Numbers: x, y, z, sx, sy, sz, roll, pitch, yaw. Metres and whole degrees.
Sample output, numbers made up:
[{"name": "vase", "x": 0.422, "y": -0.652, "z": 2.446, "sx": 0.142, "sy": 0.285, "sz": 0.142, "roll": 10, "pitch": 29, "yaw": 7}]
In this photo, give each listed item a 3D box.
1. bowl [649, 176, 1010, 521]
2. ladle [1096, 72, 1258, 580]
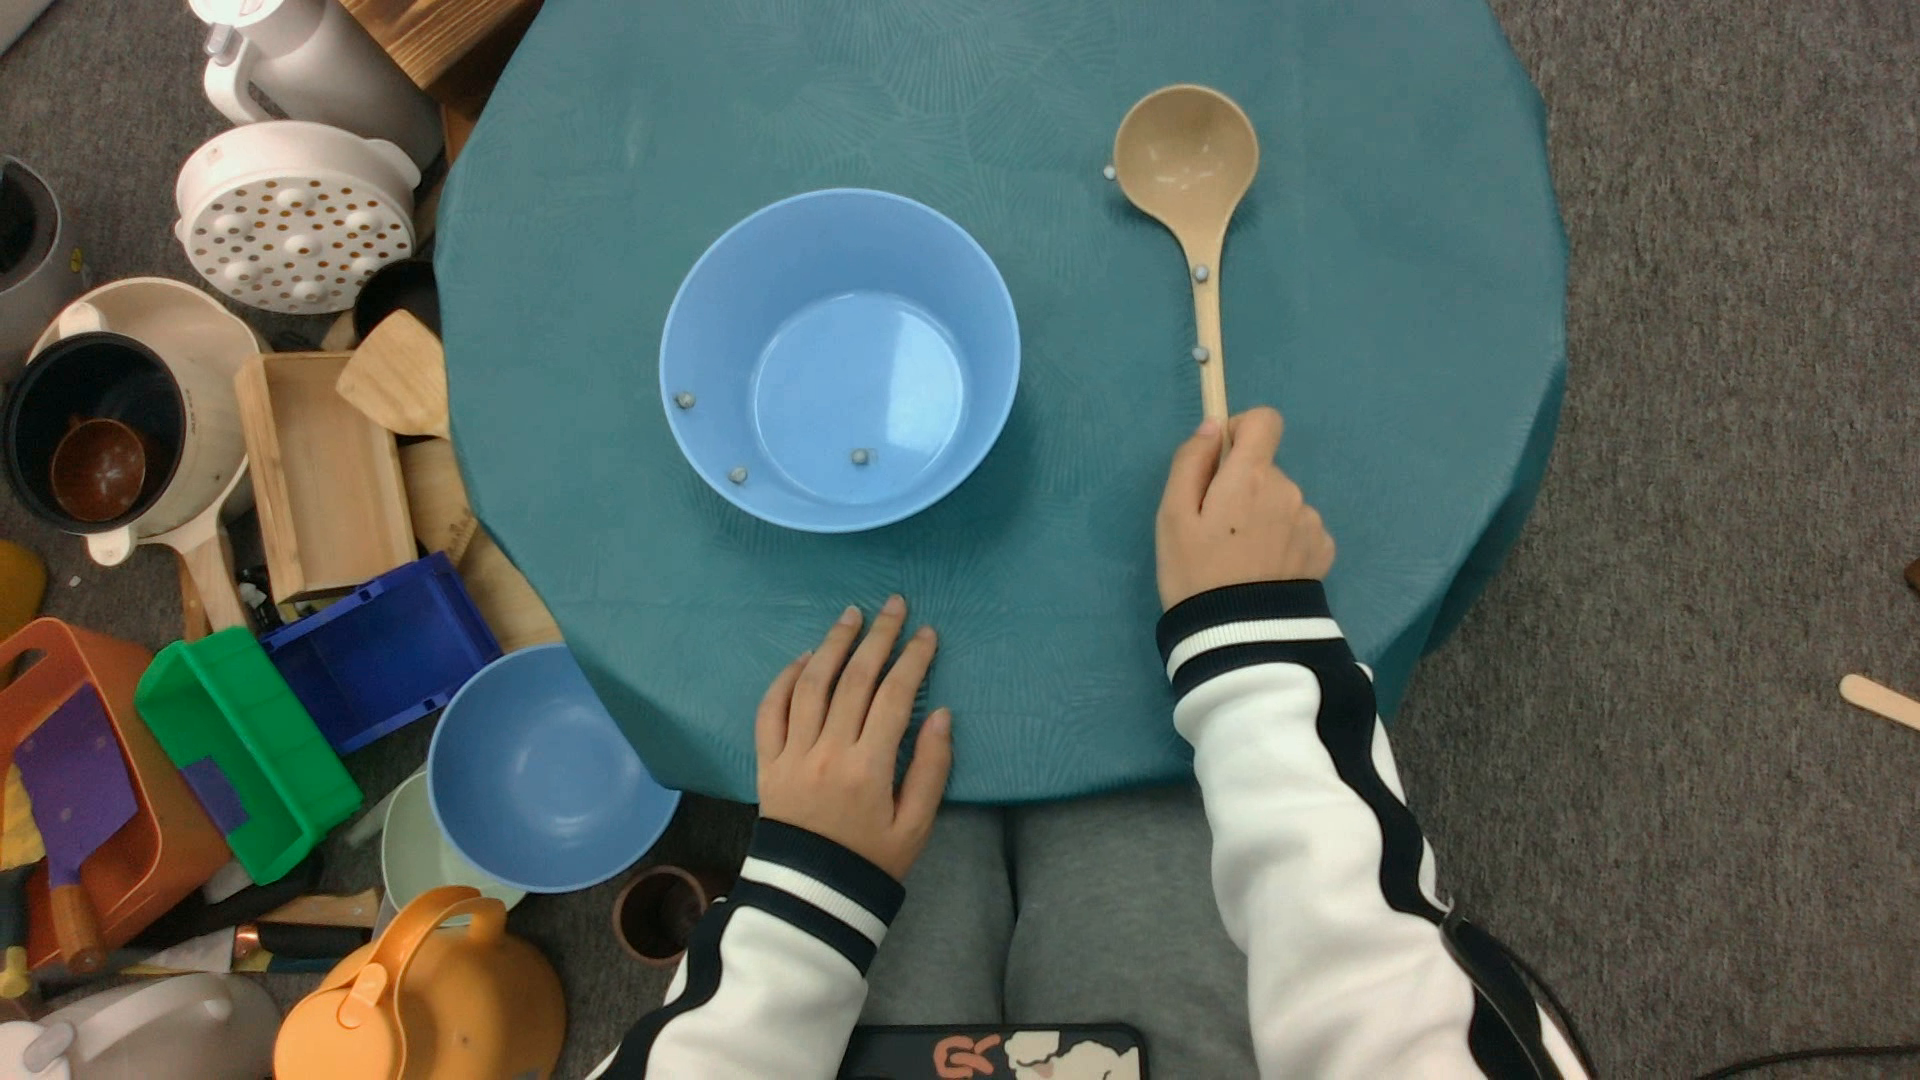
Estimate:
[{"name": "bowl", "x": -0.060, "y": -0.087, "z": 0.690, "sx": 0.176, "sy": 0.070, "sz": 0.176, "roll": -1, "pitch": 76, "yaw": 5}, {"name": "ladle", "x": 0.112, "y": -0.111, "z": 0.668, "sx": 0.072, "sy": 0.073, "sz": 0.255, "roll": -12, "pitch": 68, "yaw": 20}]
